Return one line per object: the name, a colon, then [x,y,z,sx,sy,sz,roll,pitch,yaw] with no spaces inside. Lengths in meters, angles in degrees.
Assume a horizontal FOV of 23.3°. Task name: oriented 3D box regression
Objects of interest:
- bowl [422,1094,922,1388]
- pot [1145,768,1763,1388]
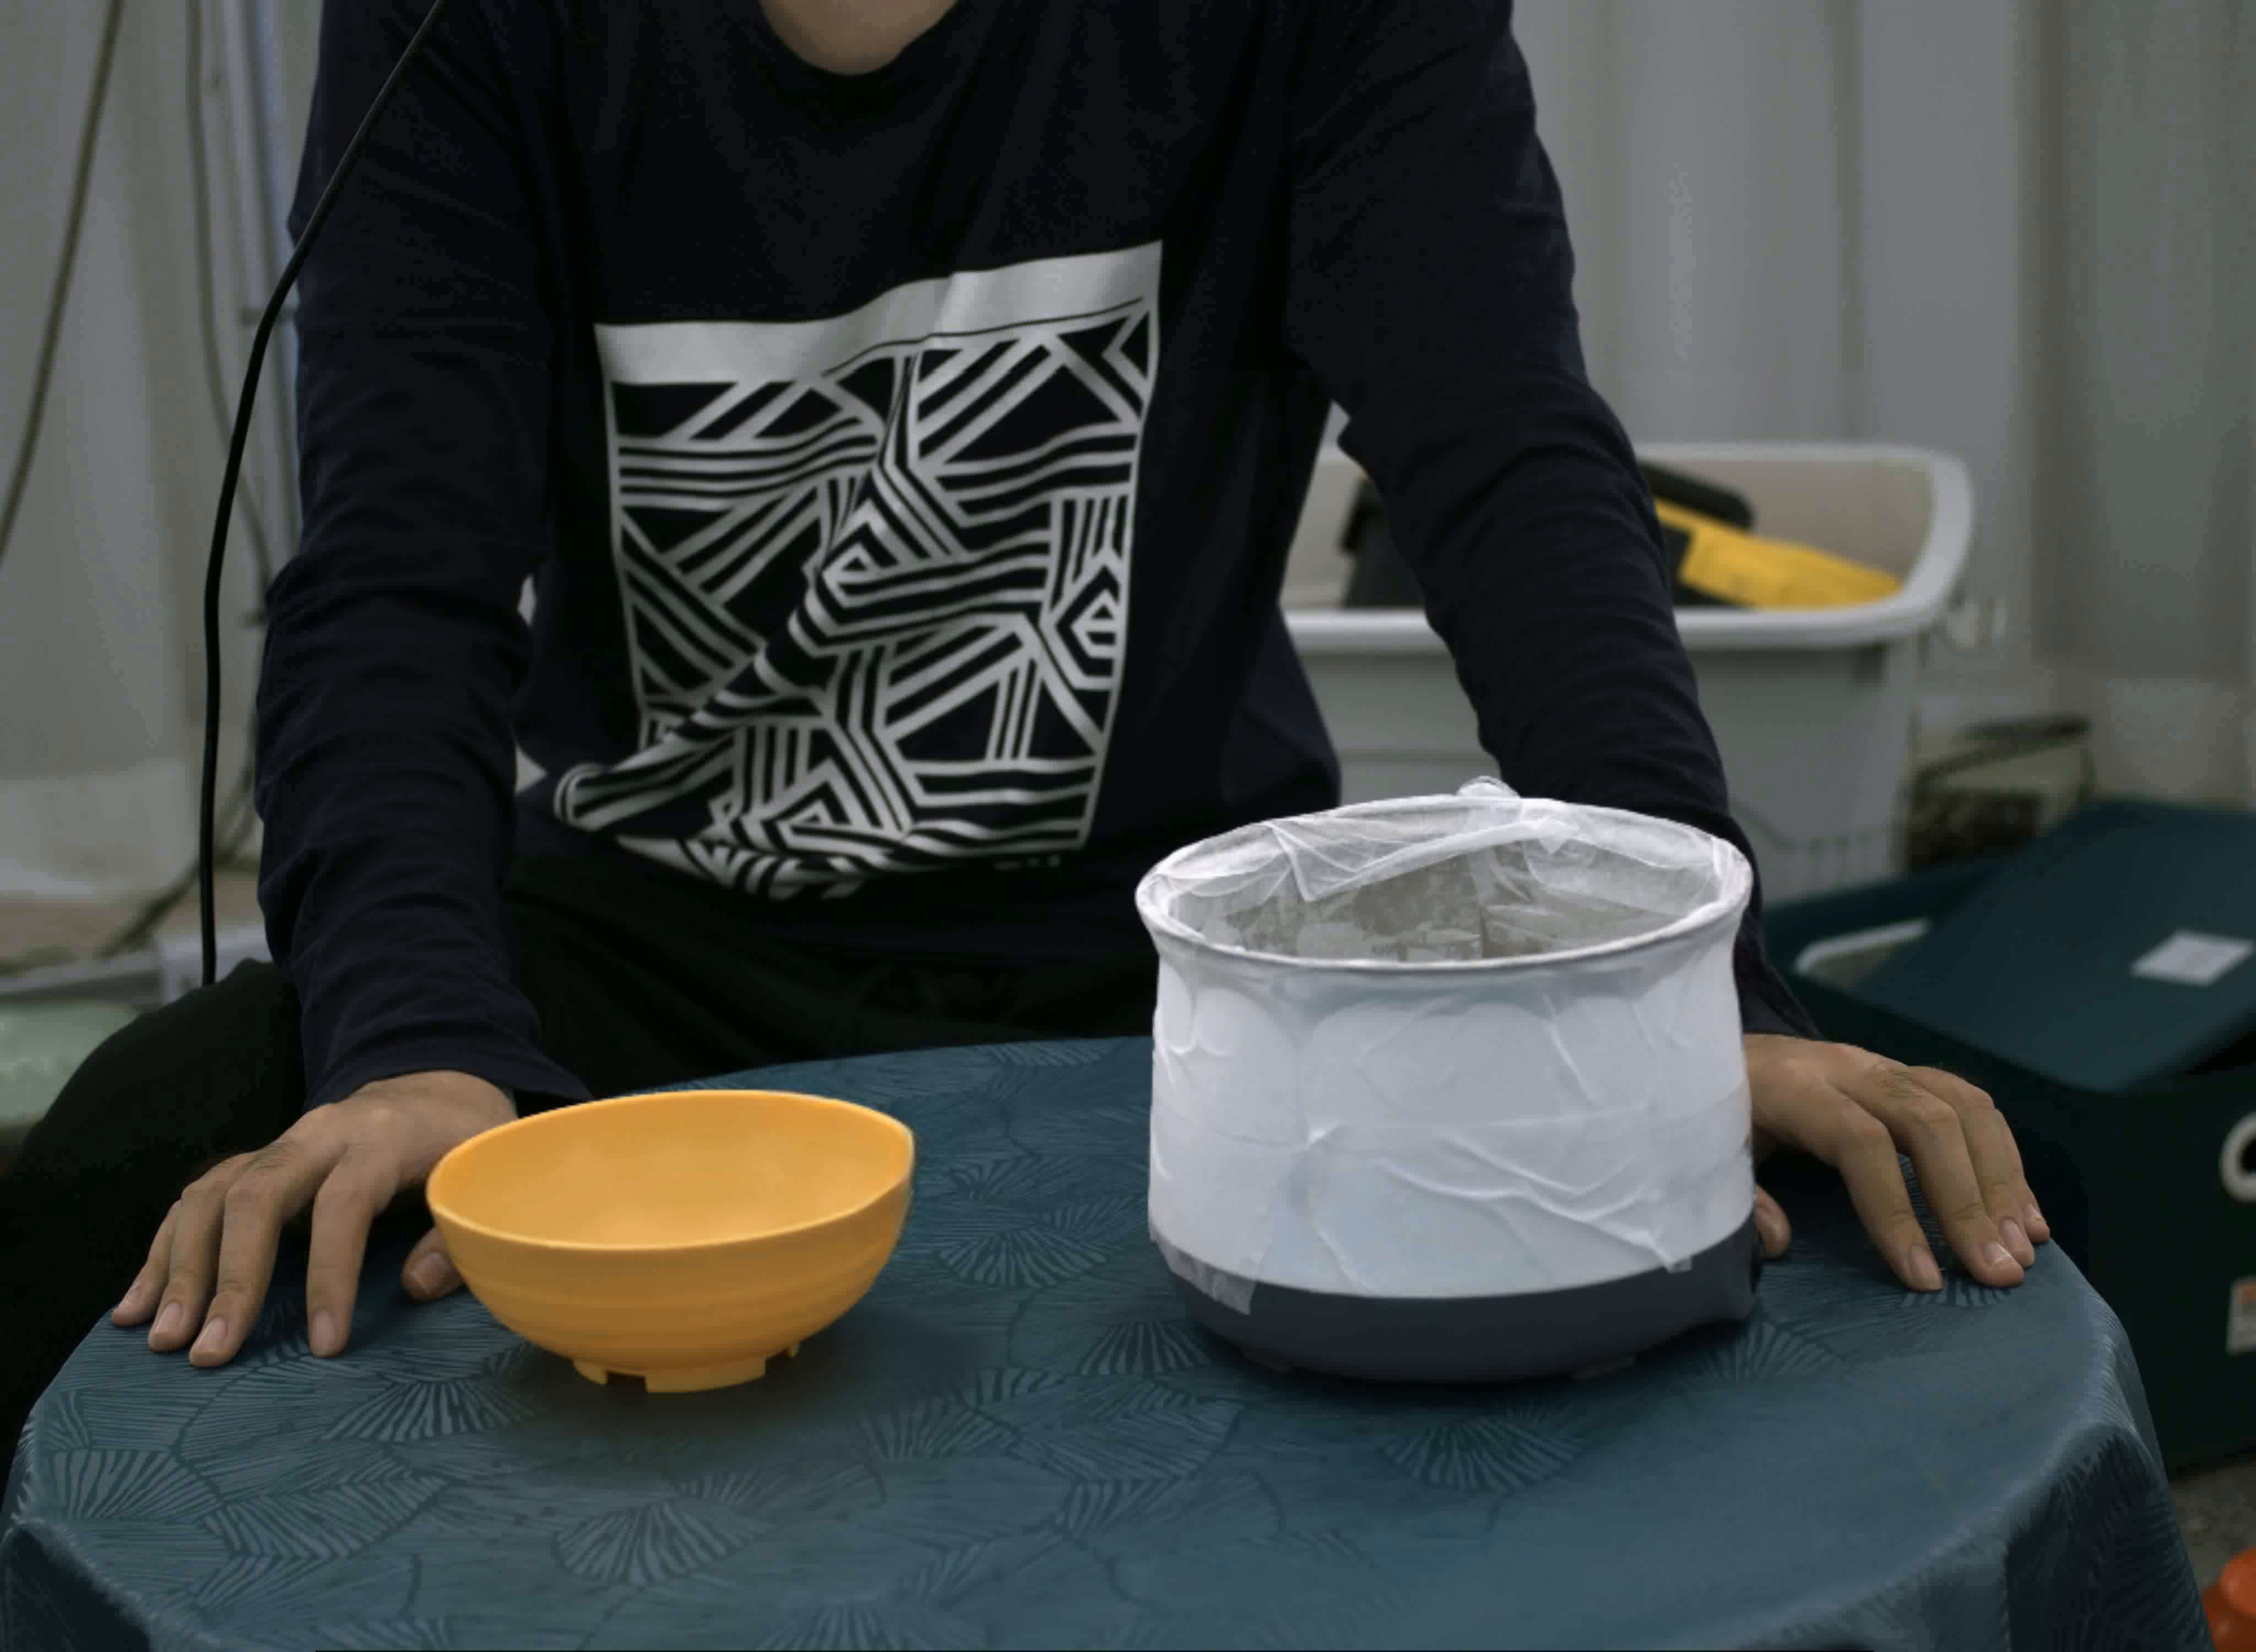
bowl: [-0.129,0.125,1.583,0.145,0.060,0.146,-4,13,1]
pot: [0.097,0.068,1.606,0.178,0.136,0.235,2,16,9]
